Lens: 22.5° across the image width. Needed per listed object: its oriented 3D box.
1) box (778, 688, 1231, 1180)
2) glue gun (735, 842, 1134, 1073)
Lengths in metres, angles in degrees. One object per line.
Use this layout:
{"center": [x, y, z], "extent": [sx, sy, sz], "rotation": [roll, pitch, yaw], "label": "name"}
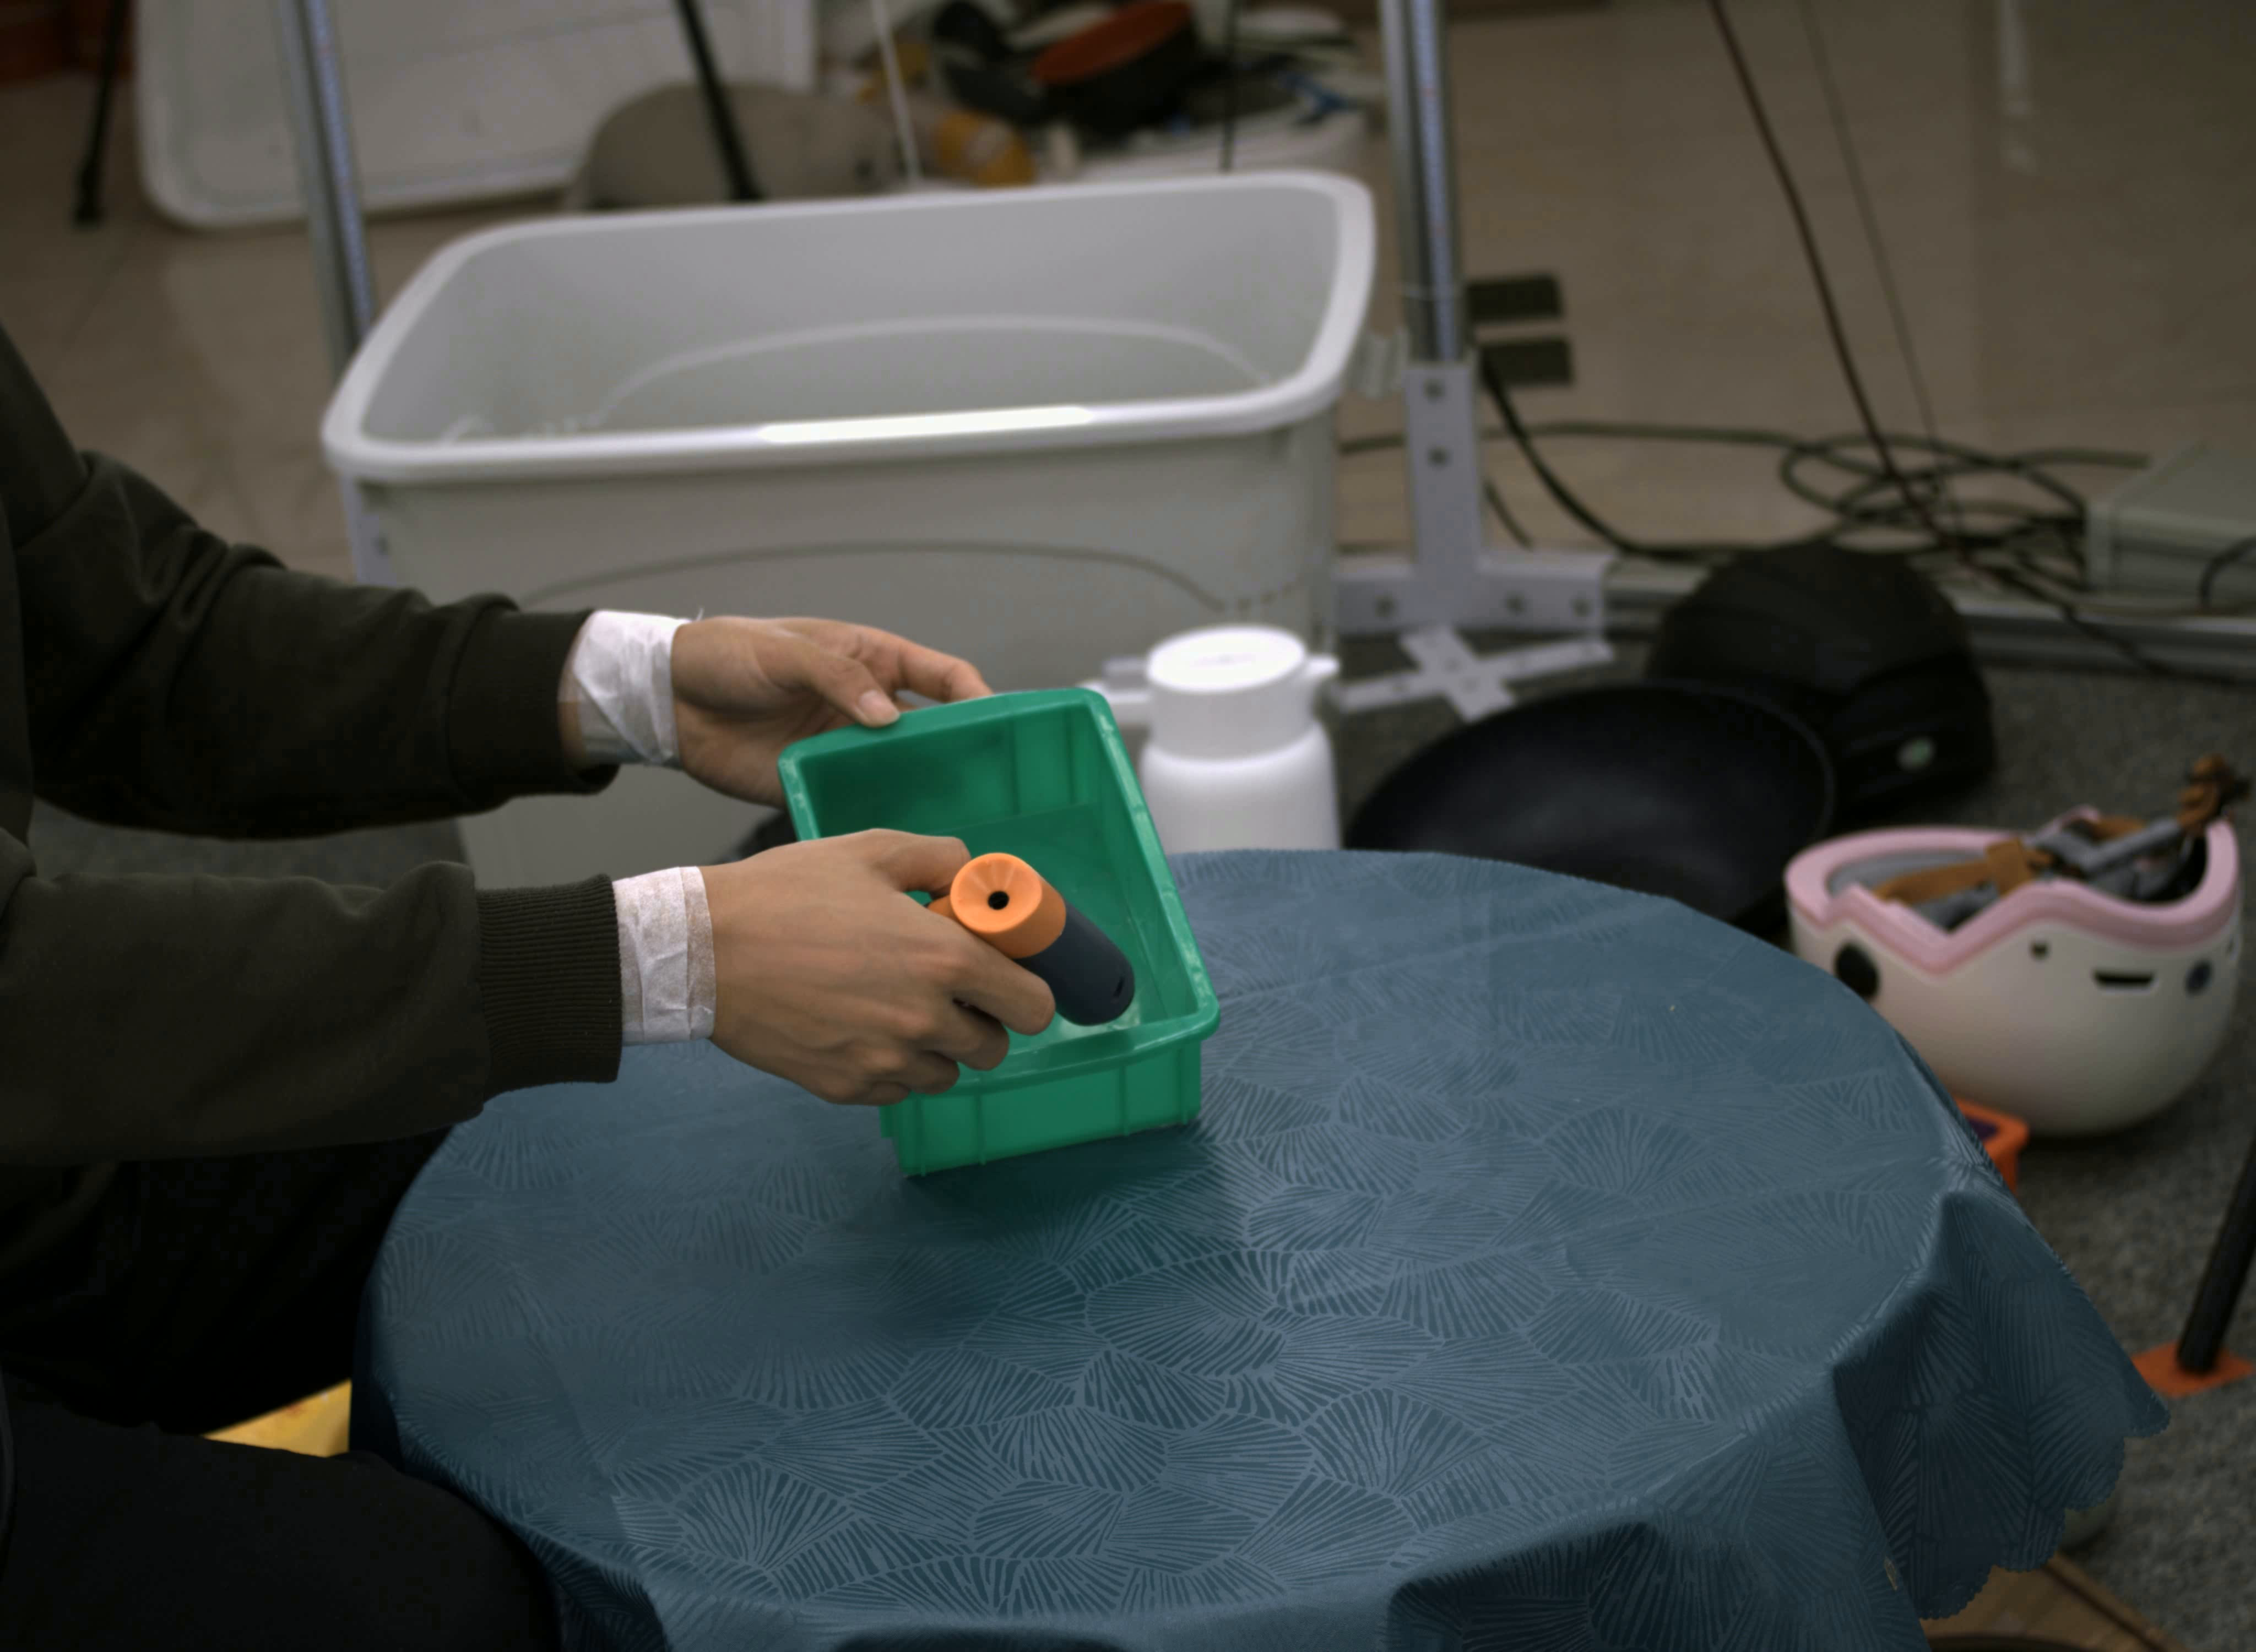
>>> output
{"center": [-0.050, 0.044, 2.224], "extent": [0.138, 0.066, 0.207], "rotation": [-13, 48, -10], "label": "box"}
{"center": [-0.070, 0.054, 2.099], "extent": [0.139, 0.120, 0.040], "rotation": [-9, 58, 1], "label": "glue gun"}
